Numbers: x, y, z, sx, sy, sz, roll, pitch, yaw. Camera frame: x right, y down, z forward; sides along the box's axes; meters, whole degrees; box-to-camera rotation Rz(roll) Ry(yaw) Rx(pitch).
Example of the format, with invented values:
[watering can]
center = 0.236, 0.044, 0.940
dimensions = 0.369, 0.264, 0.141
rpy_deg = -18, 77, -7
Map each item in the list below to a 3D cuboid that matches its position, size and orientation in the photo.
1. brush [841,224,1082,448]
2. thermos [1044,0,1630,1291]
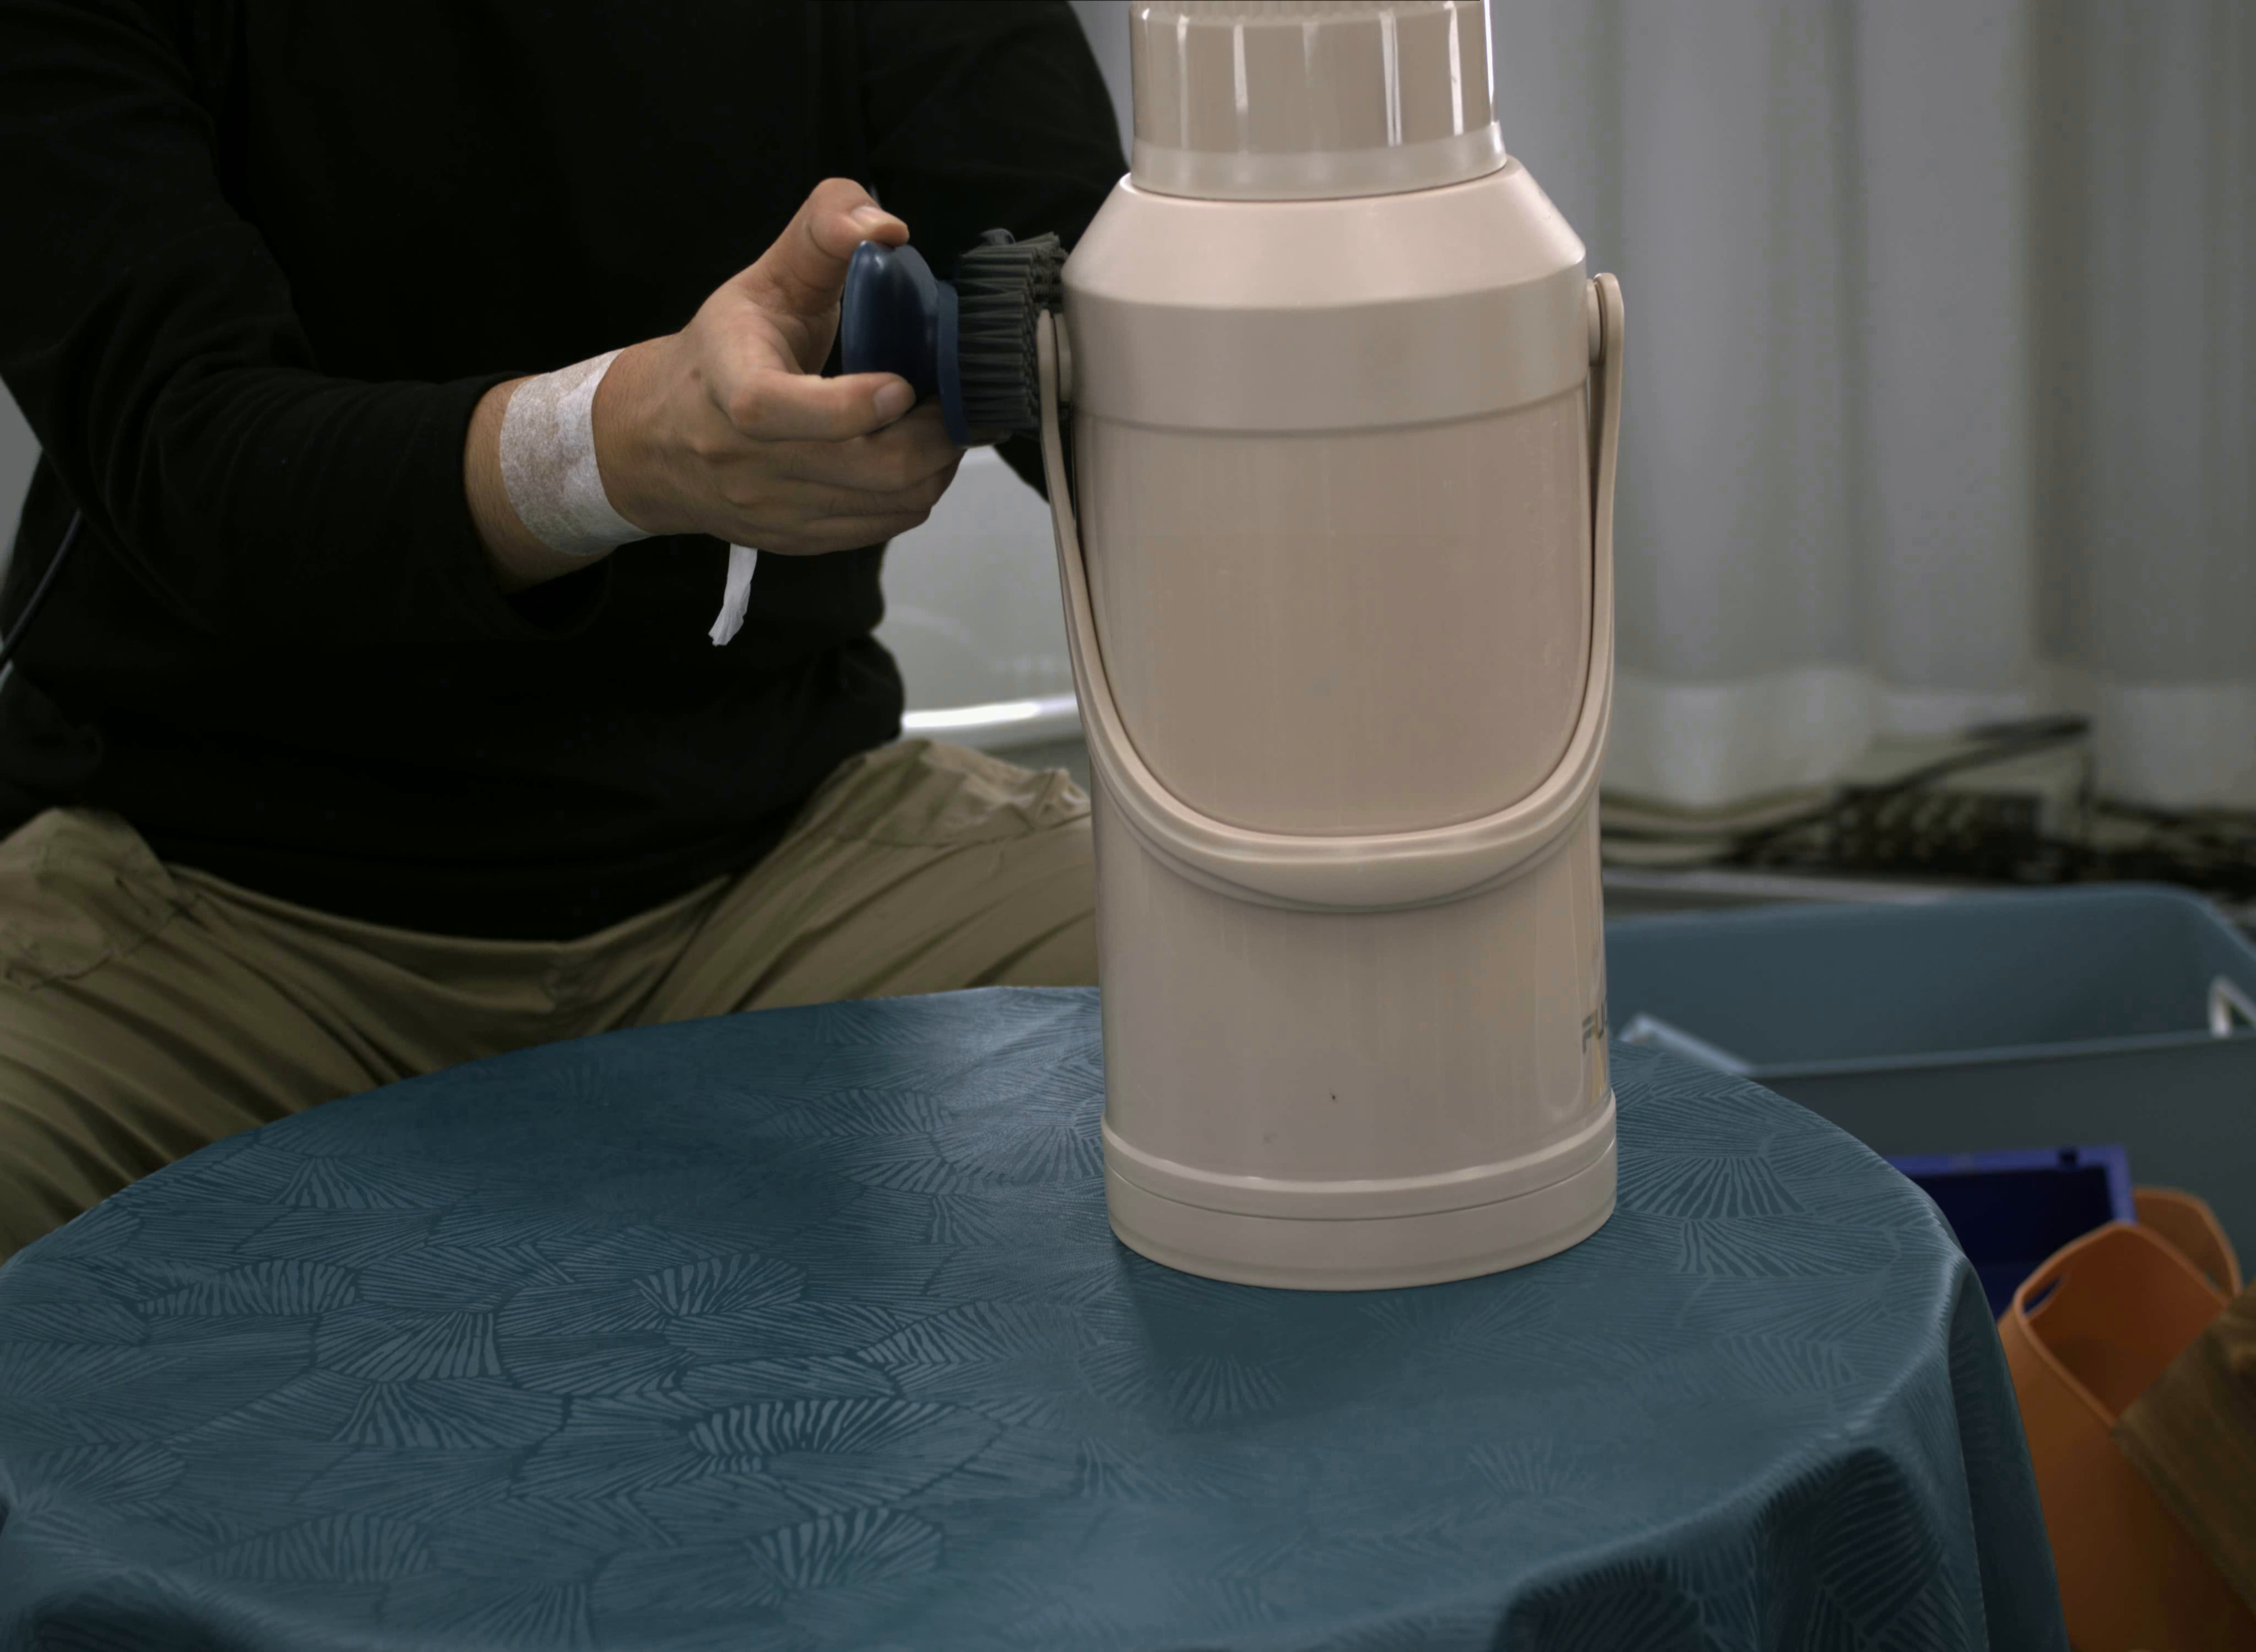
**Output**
[brush]
center = -0.046, -0.146, 1.637
dimensions = 0.061, 0.068, 0.122
rpy_deg = 0, 6, 10
[thermos]
center = 0.065, -0.078, 1.659
dimensions = 0.174, 0.405, 0.208
rpy_deg = -5, 14, -4
